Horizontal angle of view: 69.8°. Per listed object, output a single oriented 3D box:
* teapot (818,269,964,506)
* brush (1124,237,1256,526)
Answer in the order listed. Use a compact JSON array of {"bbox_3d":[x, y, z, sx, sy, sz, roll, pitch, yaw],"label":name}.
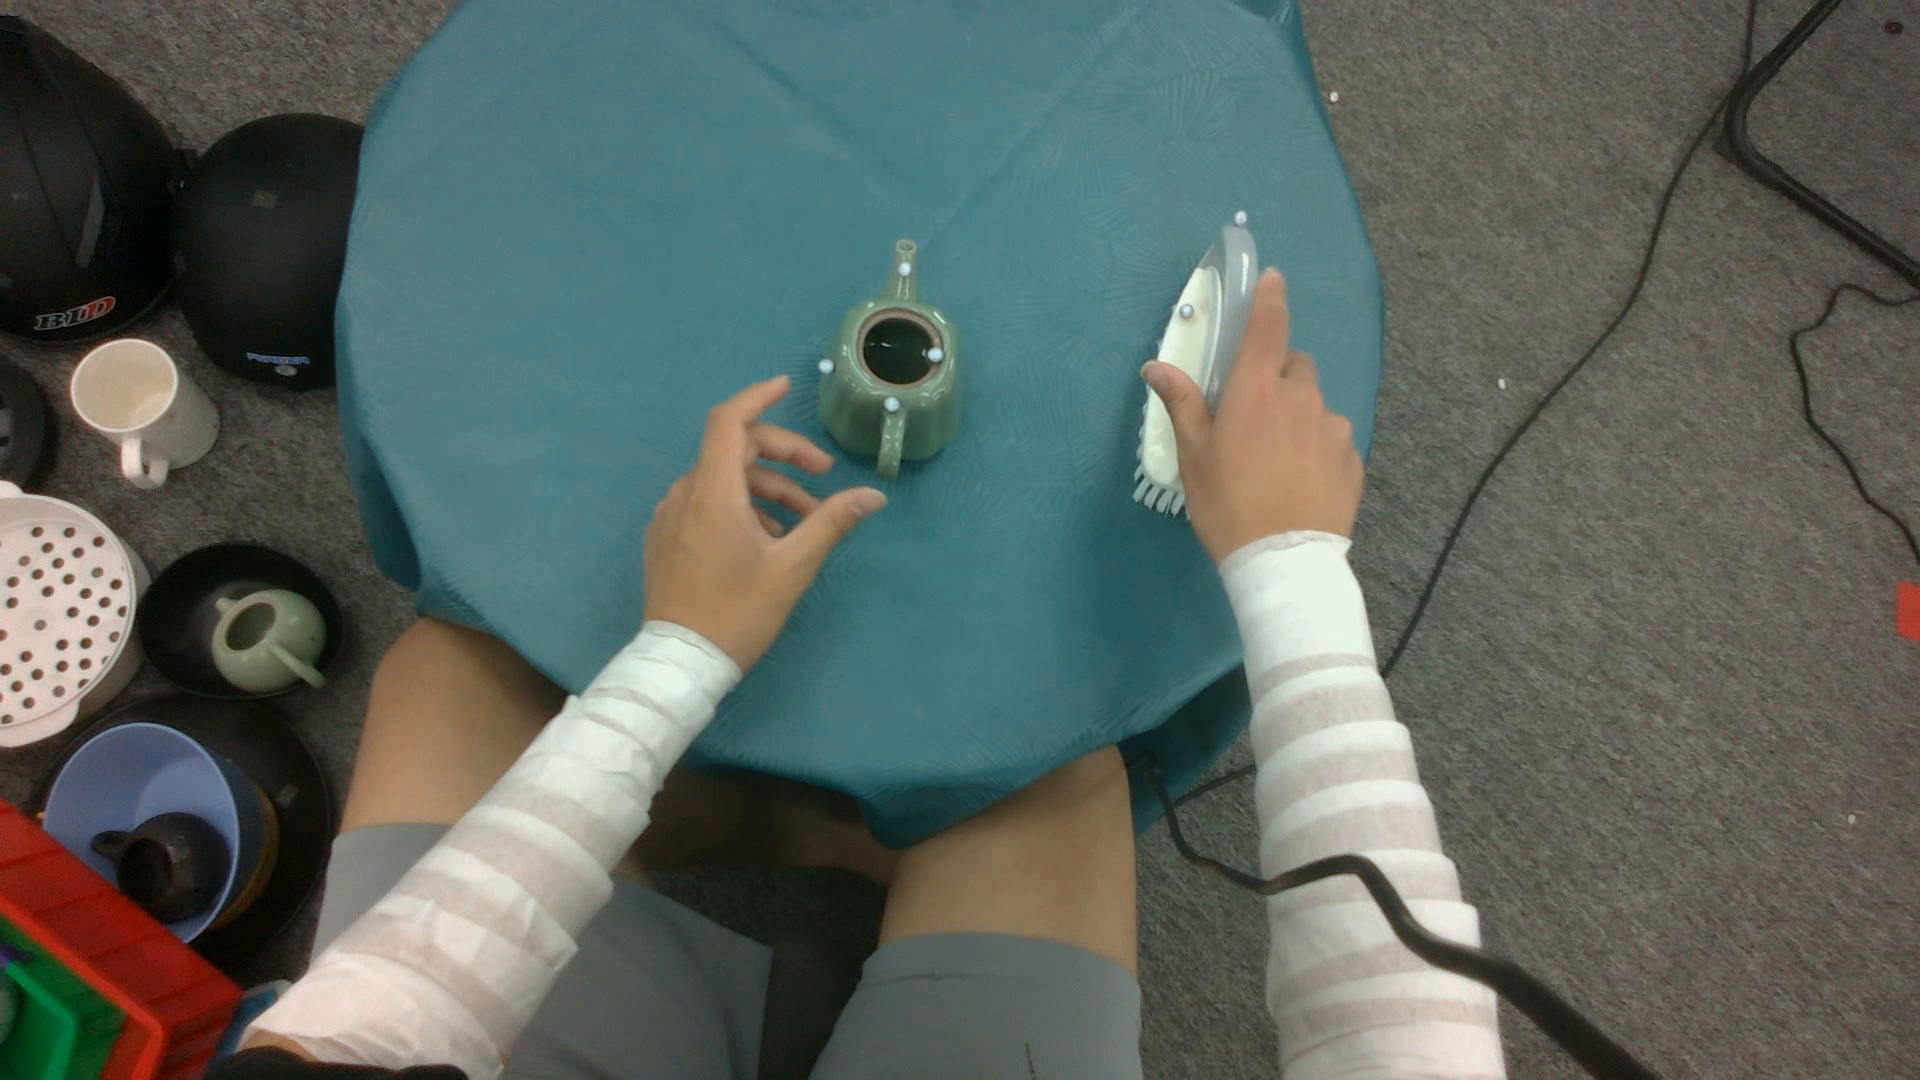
[{"bbox_3d":[-0.037,-0.076,0.757,0.080,0.075,0.133,6,72,-3],"label":"teapot"},{"bbox_3d":[0.139,-0.103,0.778,0.061,0.094,0.176,13,69,-6],"label":"brush"}]
